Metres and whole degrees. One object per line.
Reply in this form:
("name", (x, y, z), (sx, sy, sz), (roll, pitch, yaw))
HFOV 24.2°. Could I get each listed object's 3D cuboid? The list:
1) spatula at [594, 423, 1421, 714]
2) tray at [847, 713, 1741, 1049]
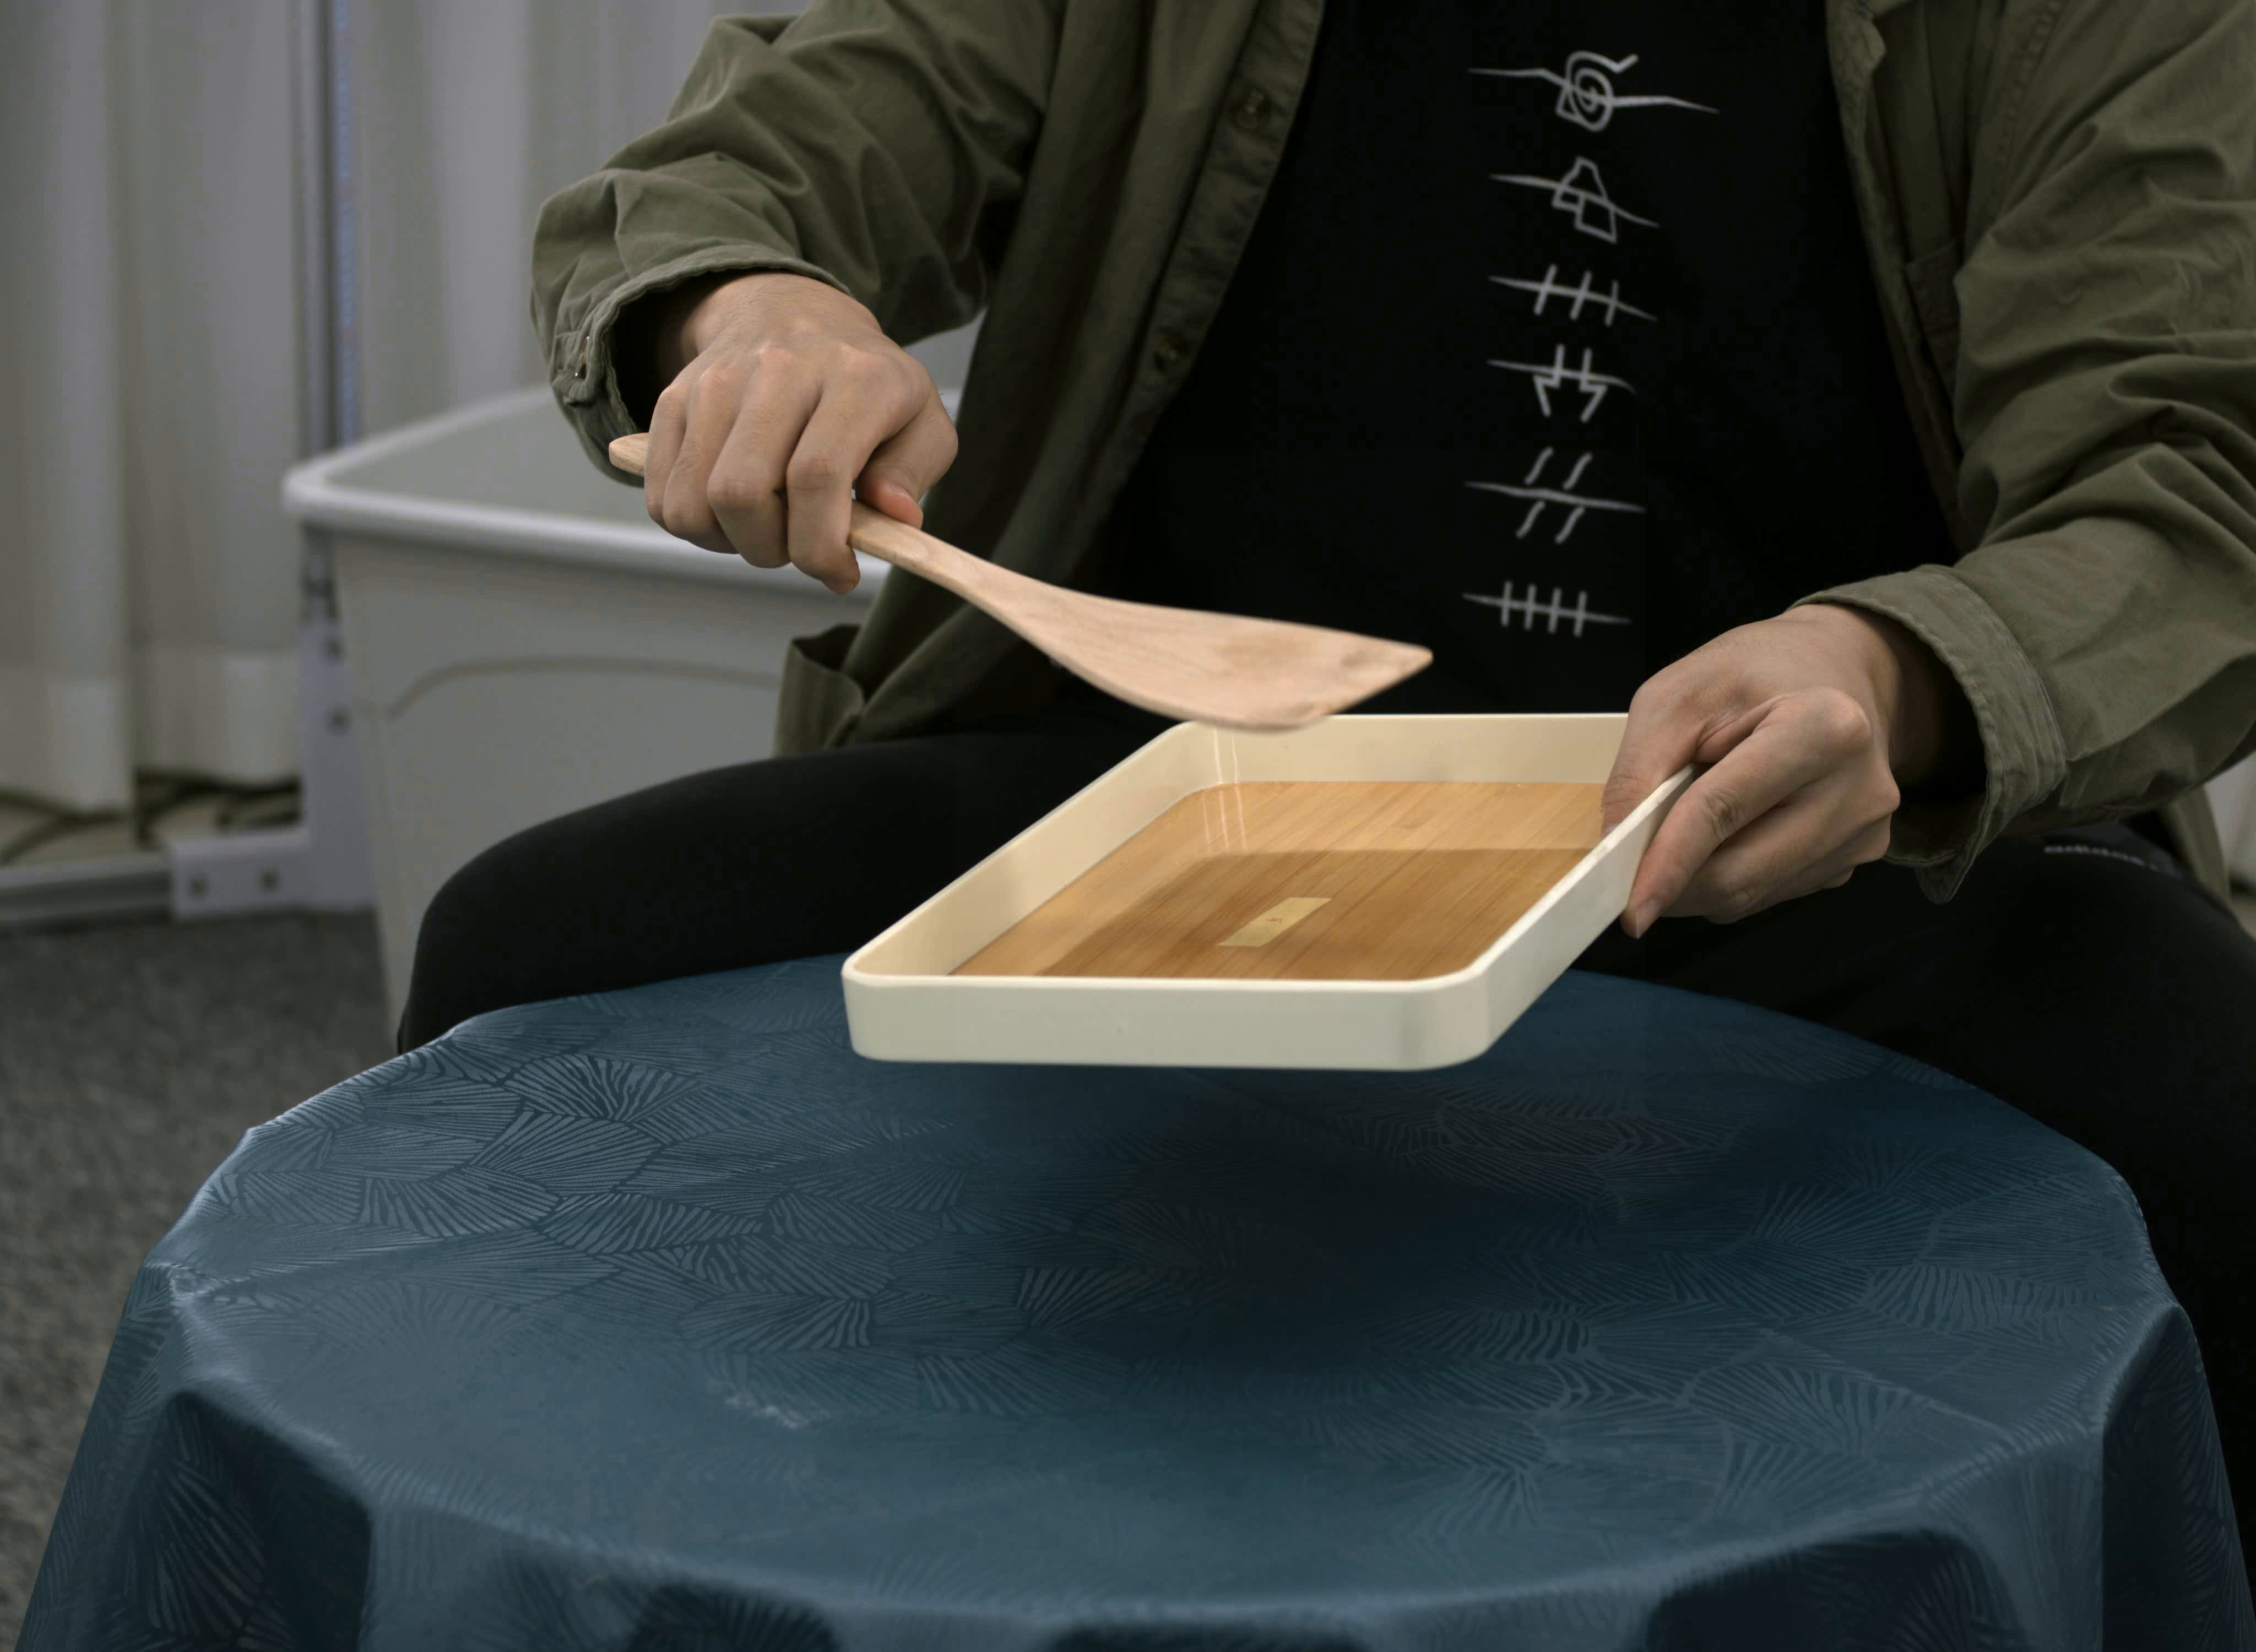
("spatula", (-0.048, -0.082, 1.569), (0.323, 0.017, 0.080), (22, 30, 39))
("tray", (0.058, 0.012, 1.579), (0.190, 0.027, 0.300), (1, 14, 22))
